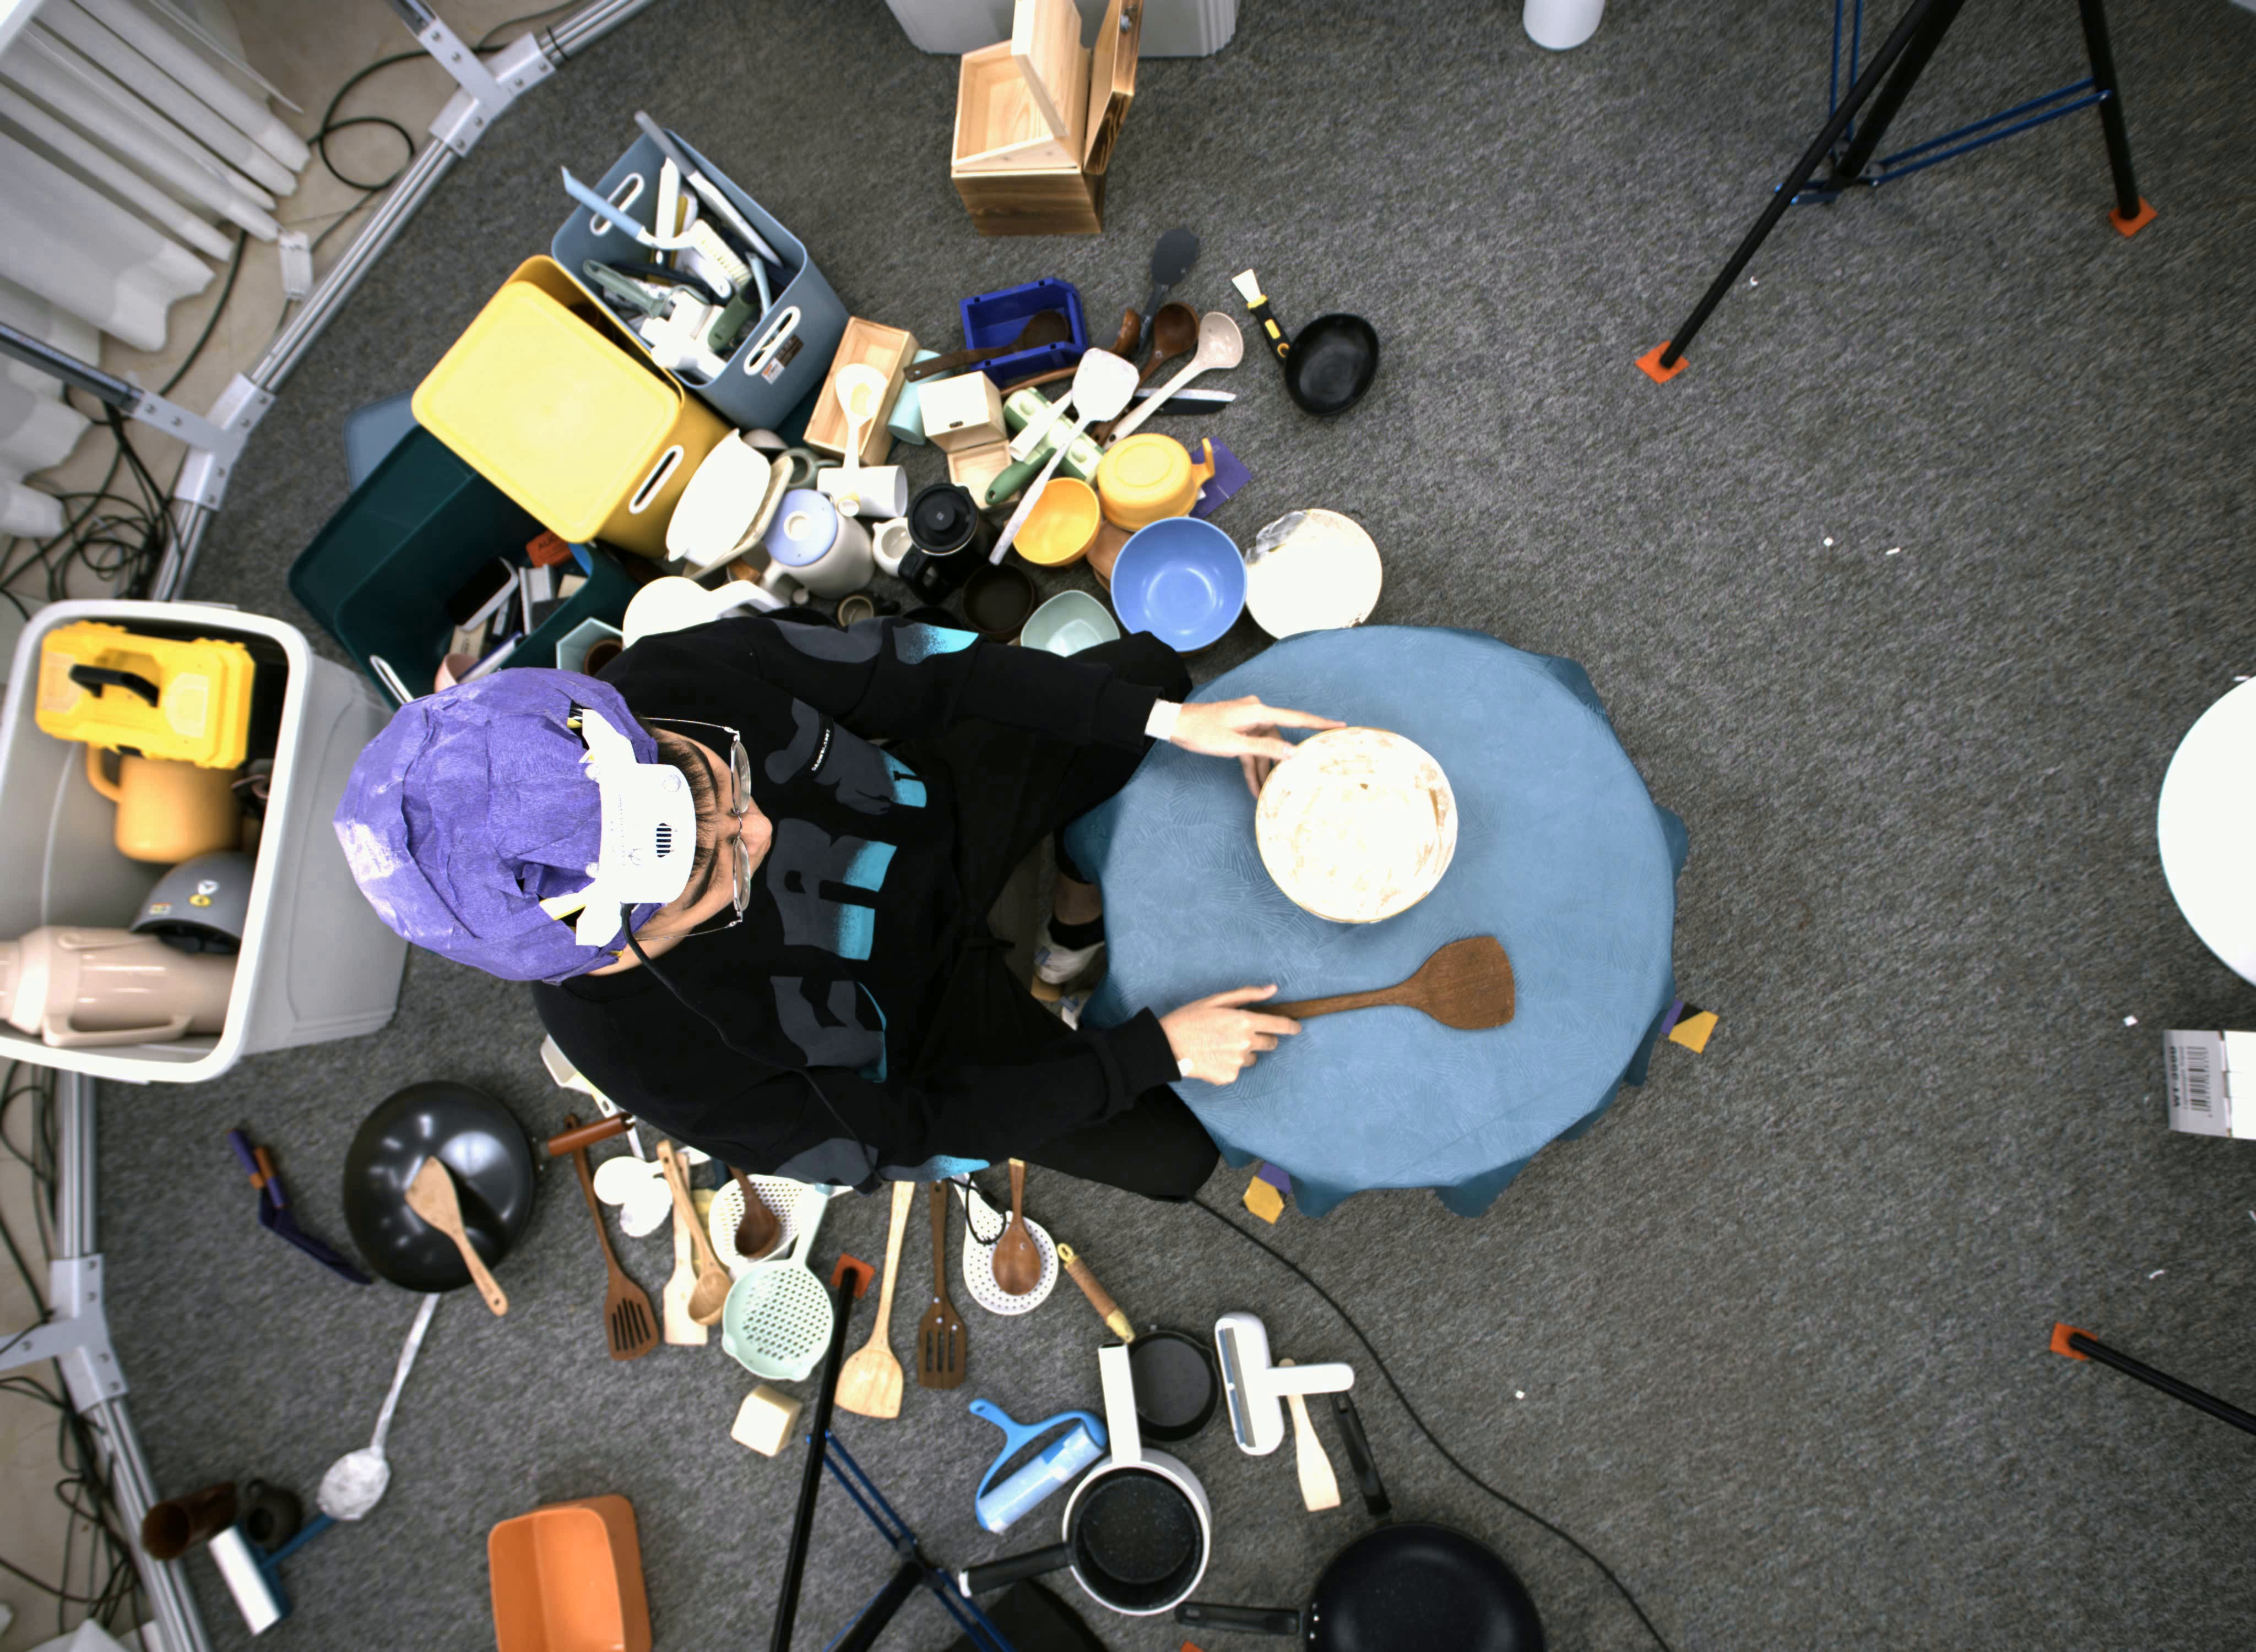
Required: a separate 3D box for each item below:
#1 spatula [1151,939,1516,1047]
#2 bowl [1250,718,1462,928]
[{"bbox_3d":[0.212,0.191,1.459,0.388,0.016,0.095,-10,83,9],"label":"spatula"},{"bbox_3d":[0.236,0.002,1.429,0.215,0.094,0.214,-1,87,11],"label":"bowl"}]
